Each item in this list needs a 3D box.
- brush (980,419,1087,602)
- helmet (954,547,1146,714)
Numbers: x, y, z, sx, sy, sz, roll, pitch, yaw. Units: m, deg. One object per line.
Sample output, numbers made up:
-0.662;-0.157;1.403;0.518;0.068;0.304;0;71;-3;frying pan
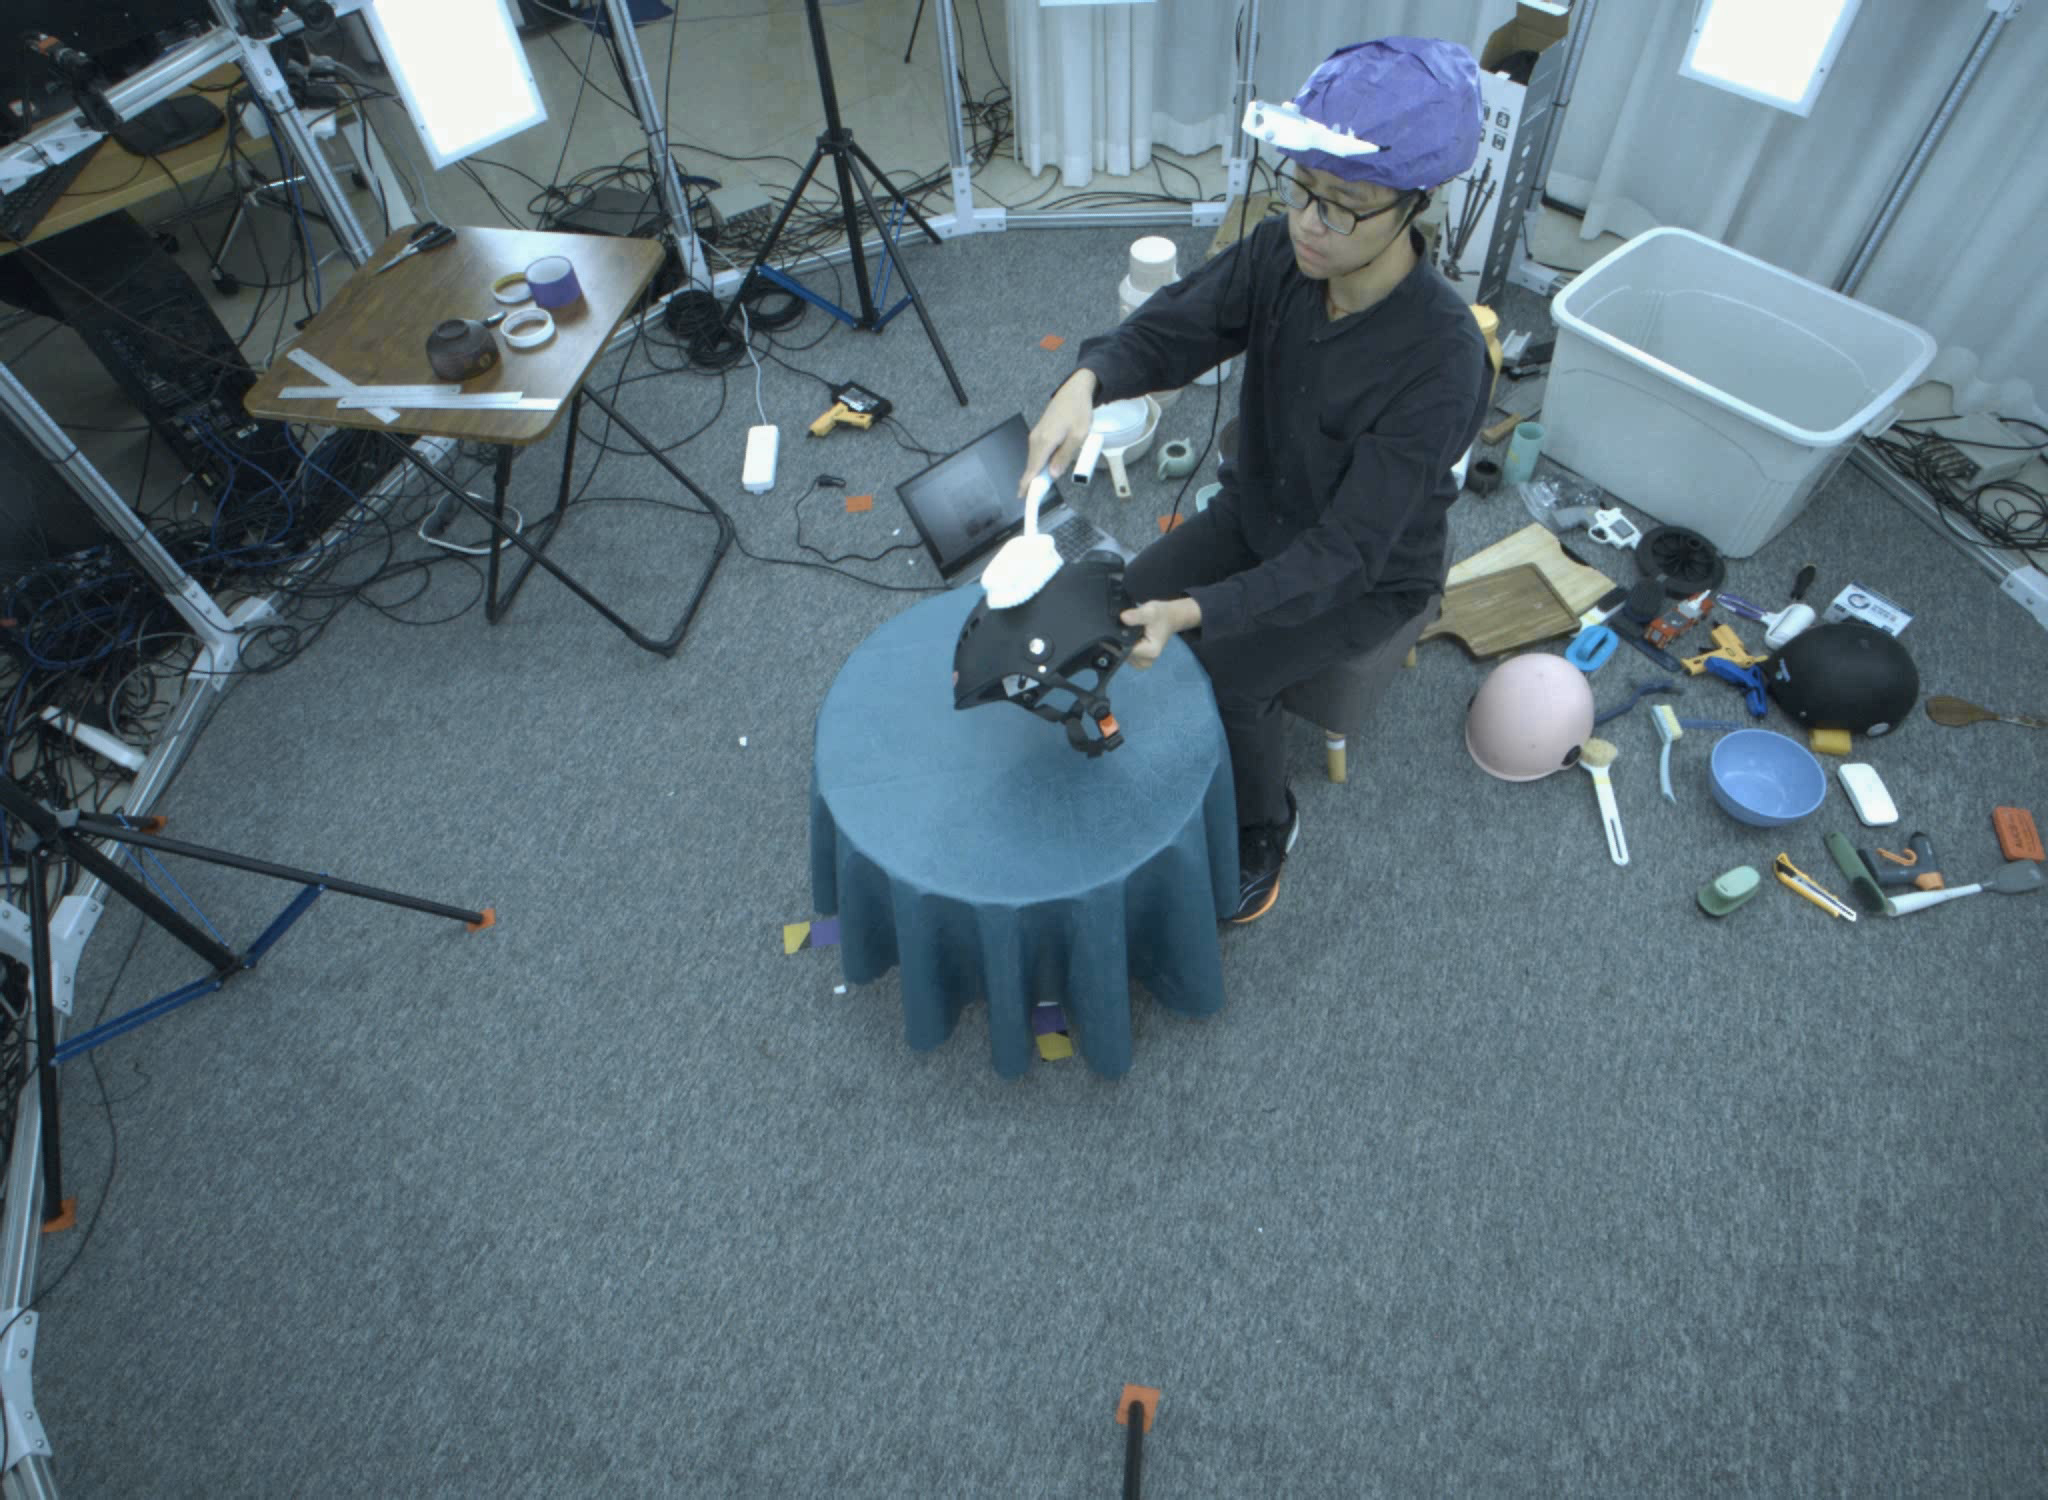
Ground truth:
0.031;-0.306;1.599;0.083;0.084;0.325;26;60;0;brush
0.023;-0.164;1.634;0.278;0.246;0.172;-22;84;-7;helmet
